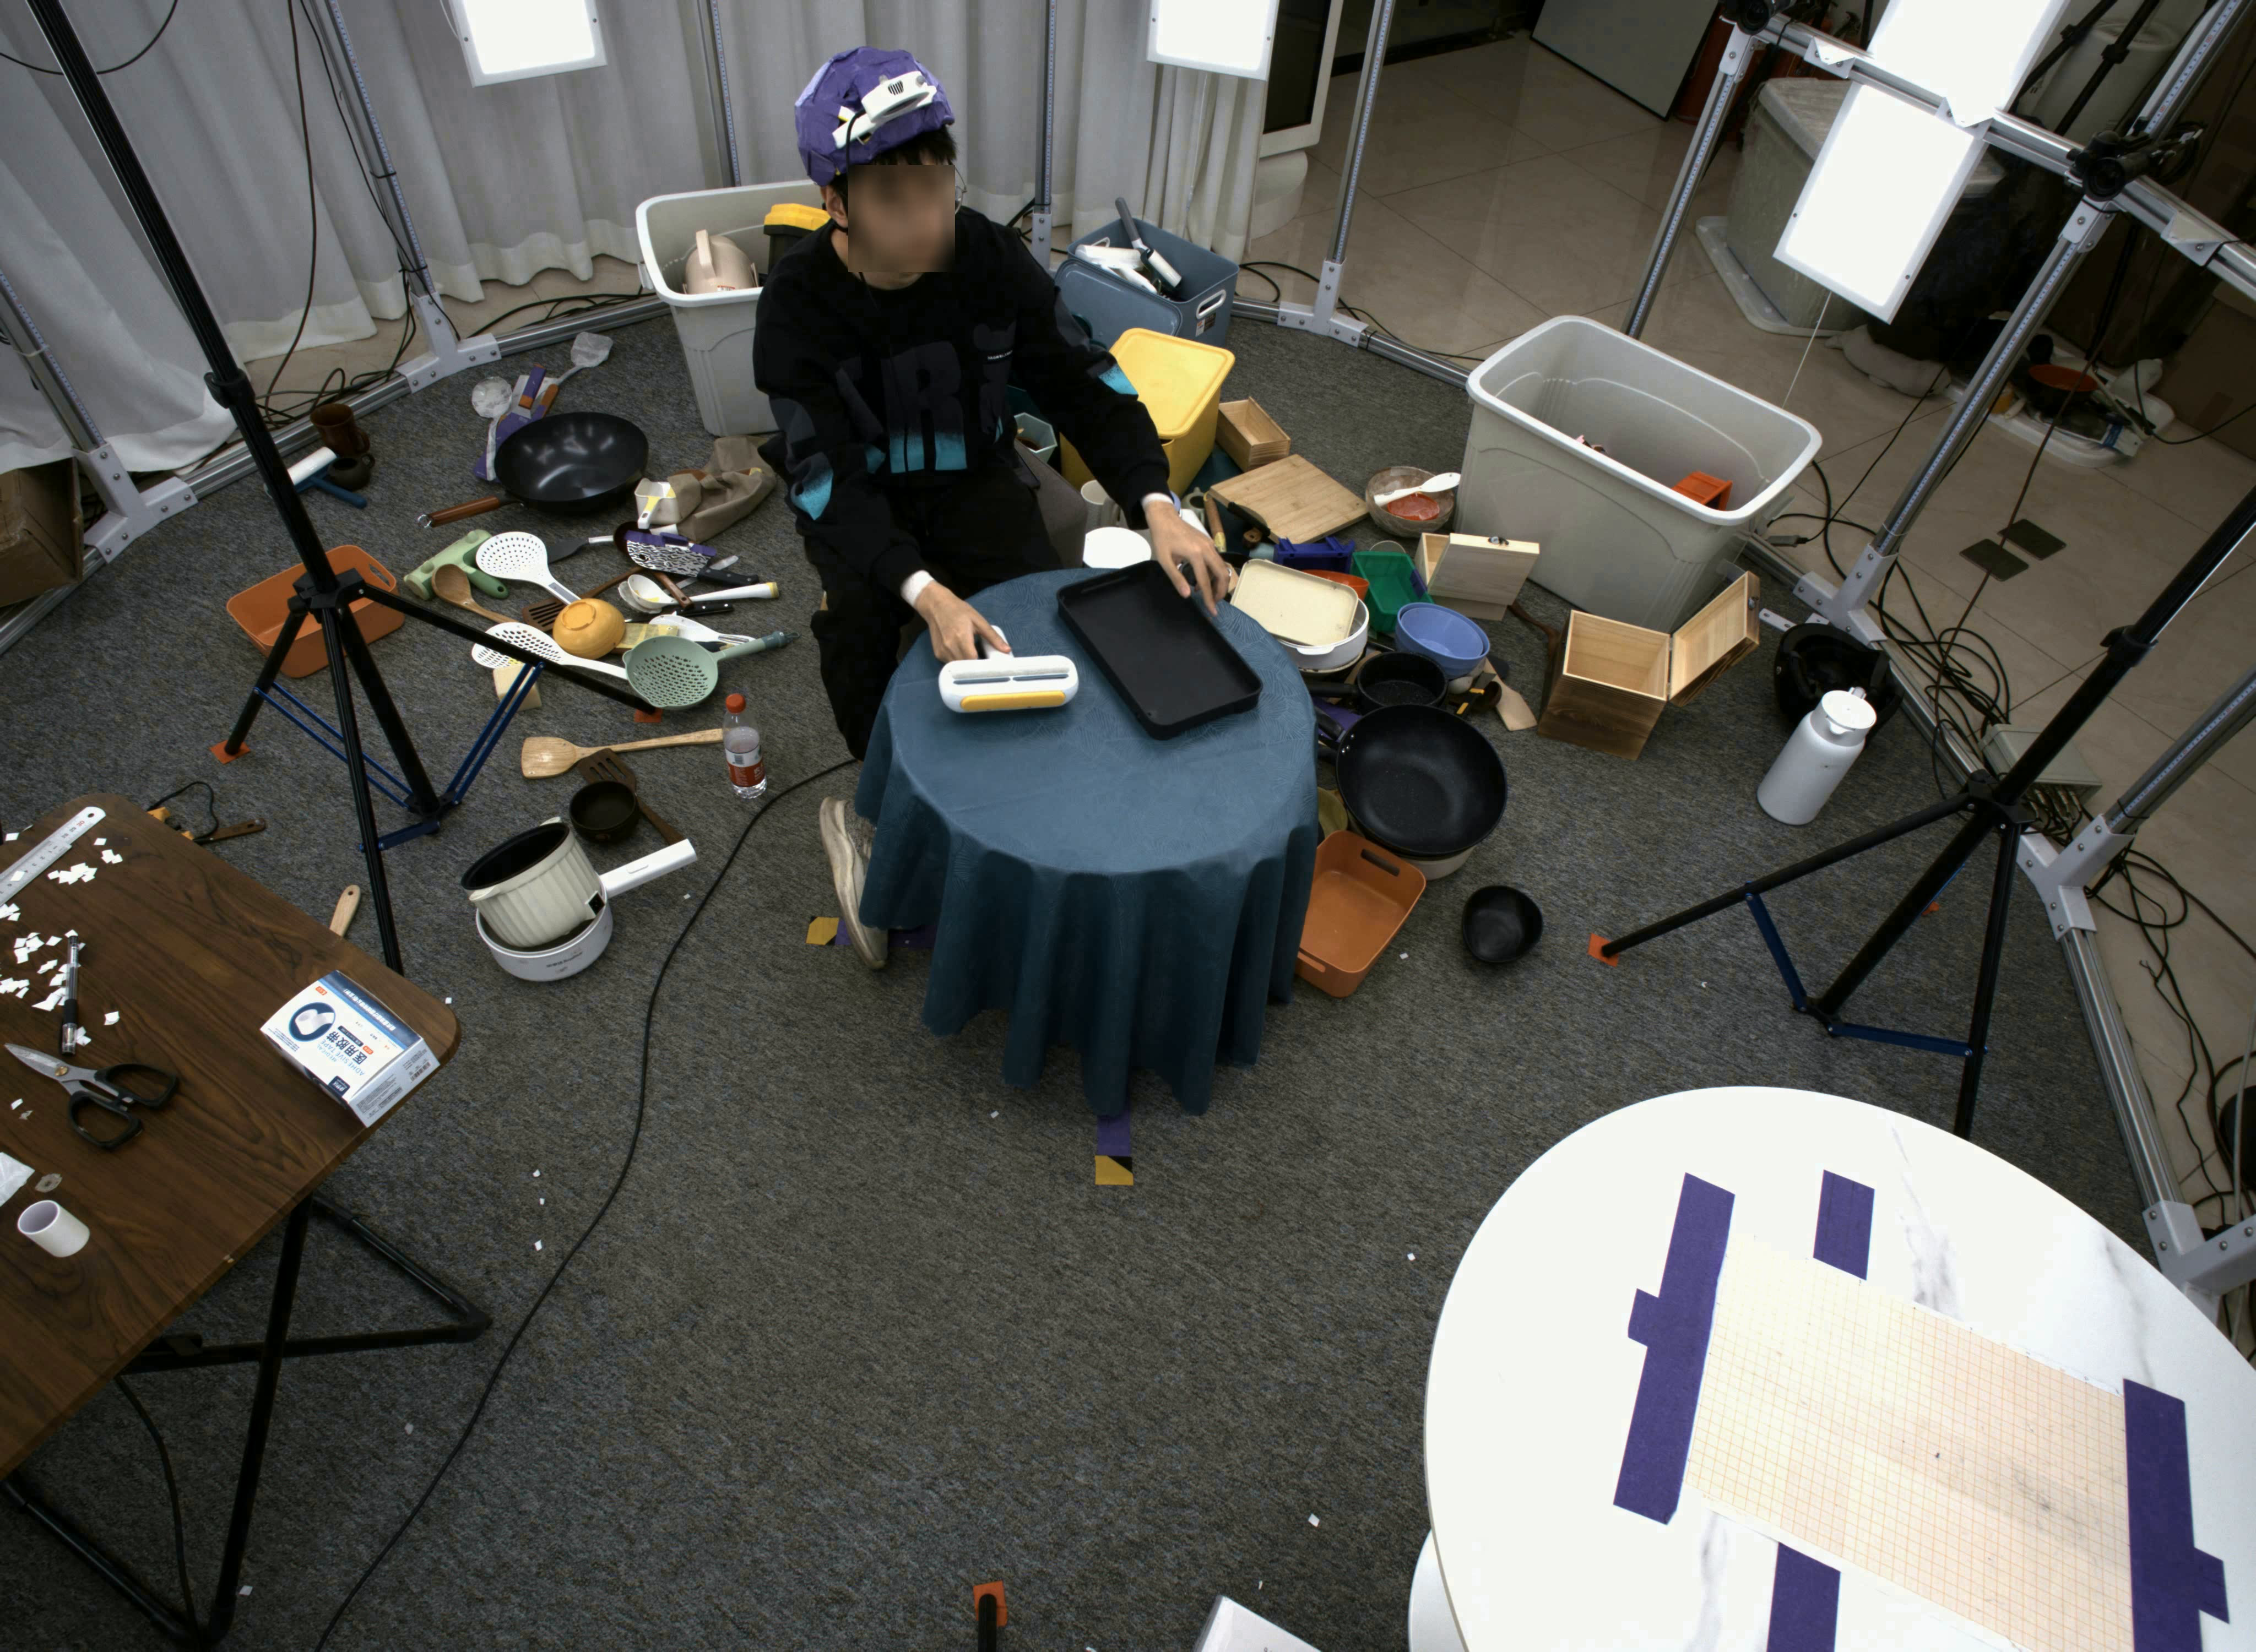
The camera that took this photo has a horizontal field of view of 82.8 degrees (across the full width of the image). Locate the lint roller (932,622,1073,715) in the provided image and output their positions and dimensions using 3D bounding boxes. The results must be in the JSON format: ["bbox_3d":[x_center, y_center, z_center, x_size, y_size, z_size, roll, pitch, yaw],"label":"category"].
[{"bbox_3d":[-0.182,-0.234,1.814,0.192,0.072,0.197,-6,49,-9],"label":"lint roller"}]

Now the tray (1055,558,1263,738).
[{"bbox_3d":[0.040,-0.266,1.878,0.185,0.036,0.324,-22,54,-21],"label":"tray"}]
